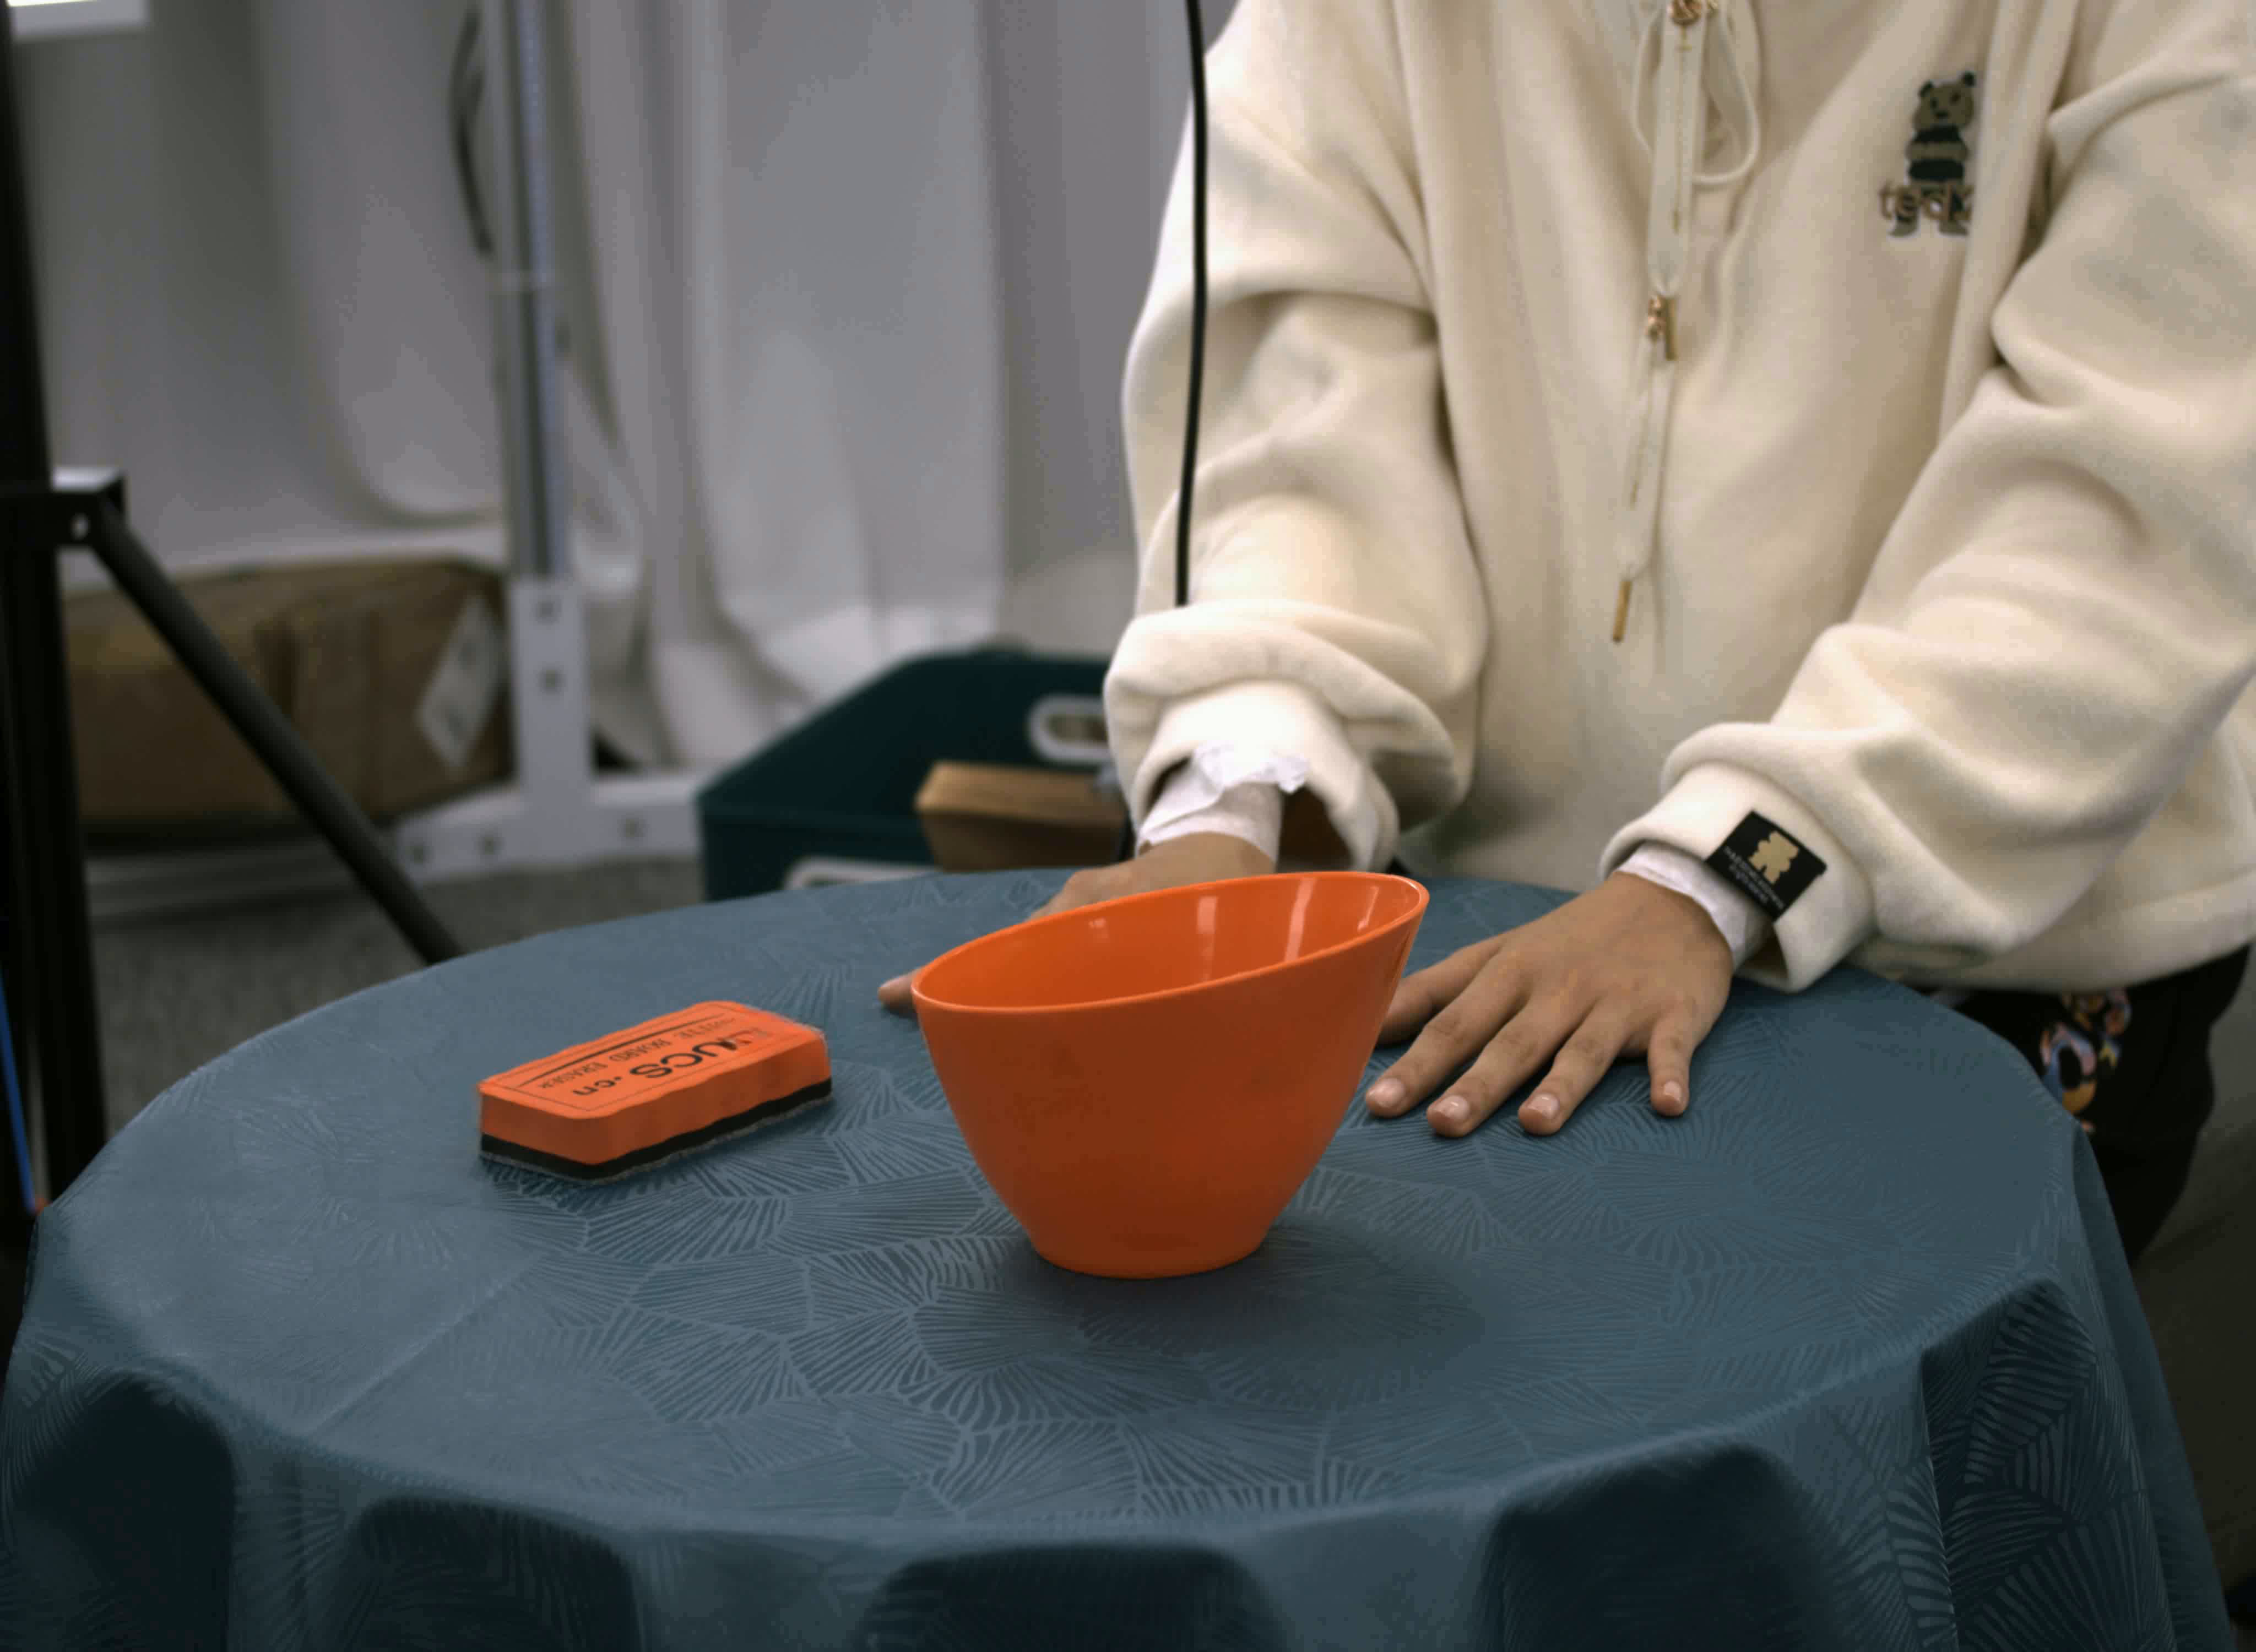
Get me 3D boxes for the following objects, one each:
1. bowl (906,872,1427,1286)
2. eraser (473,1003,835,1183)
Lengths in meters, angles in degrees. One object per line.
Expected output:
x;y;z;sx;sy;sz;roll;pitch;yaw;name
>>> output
0.012;0.072;1.498;0.147;0.104;0.149;-3;16;0;bowl
-0.145;0.081;1.634;0.060;0.023;0.105;10;20;43;eraser
